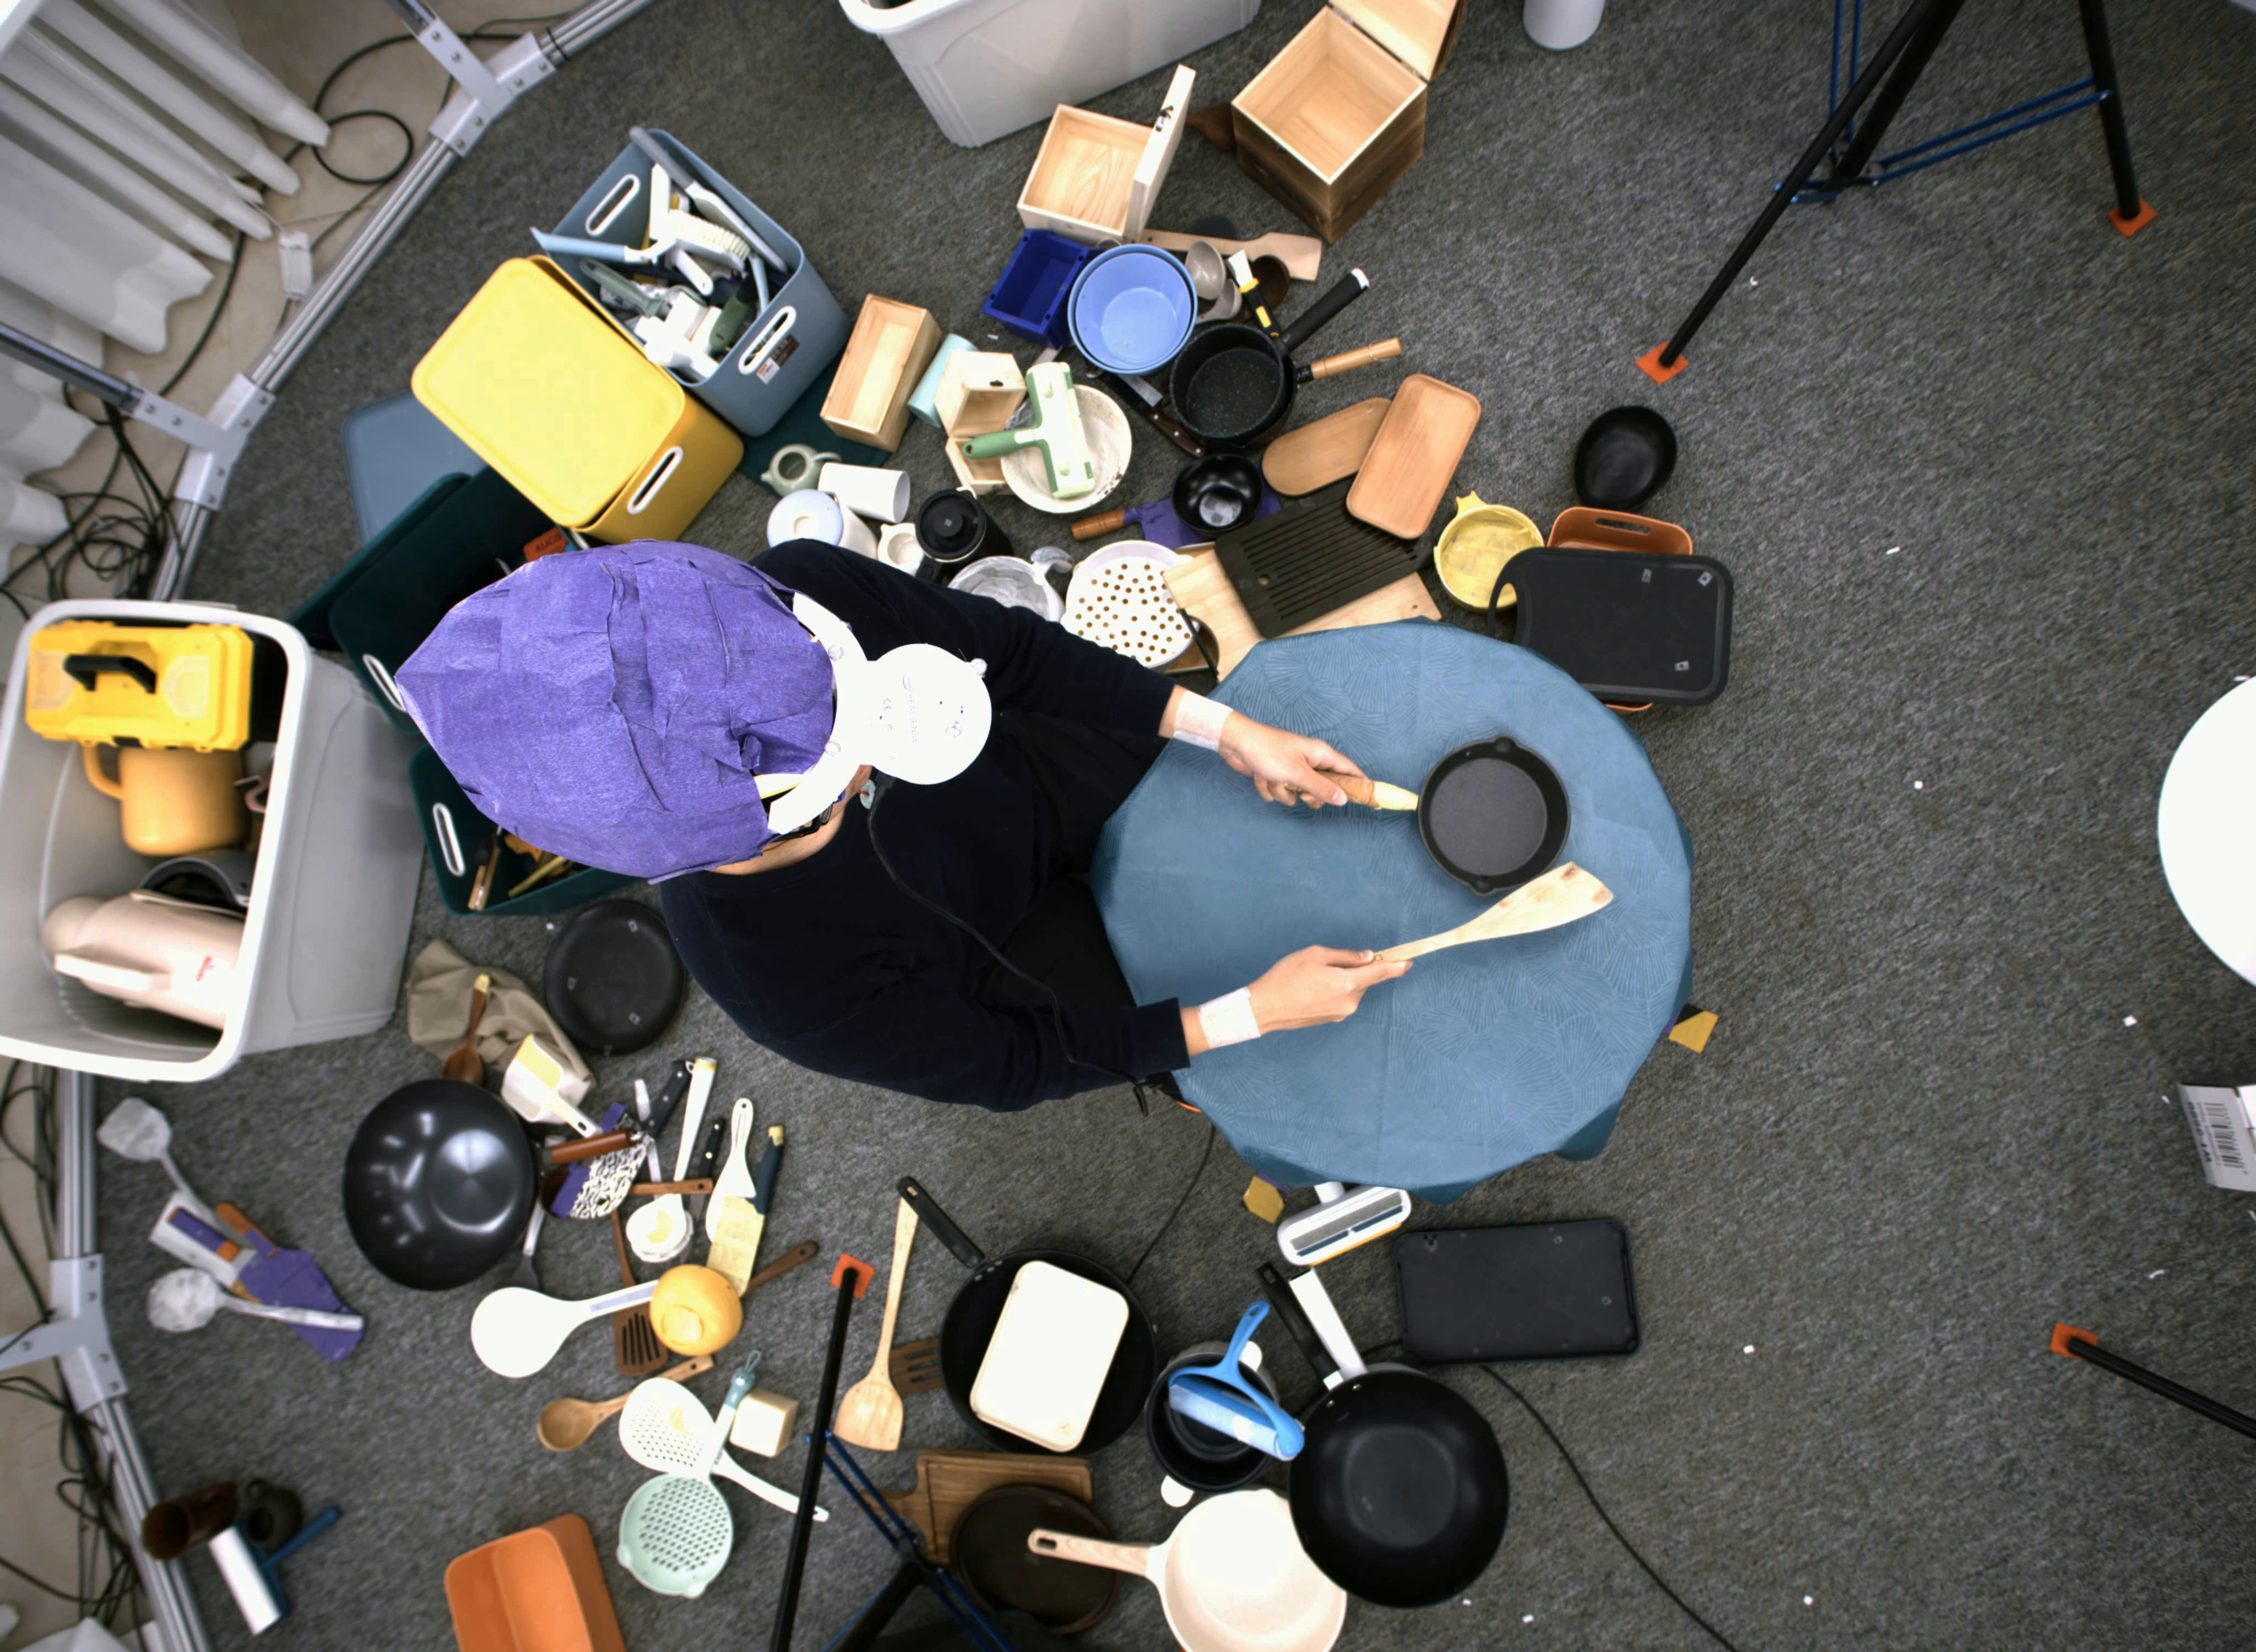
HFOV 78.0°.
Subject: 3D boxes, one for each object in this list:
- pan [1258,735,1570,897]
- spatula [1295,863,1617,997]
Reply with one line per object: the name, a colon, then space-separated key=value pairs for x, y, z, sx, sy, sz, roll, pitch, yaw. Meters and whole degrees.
pan: x=0.292 y=-0.030 z=1.416 sx=0.324 sy=0.049 sz=0.168 roll=12 pitch=89 yaw=1
spatula: x=0.320 y=0.106 z=1.372 sx=0.328 sy=0.078 sz=0.017 roll=-19 pitch=125 yaw=0
